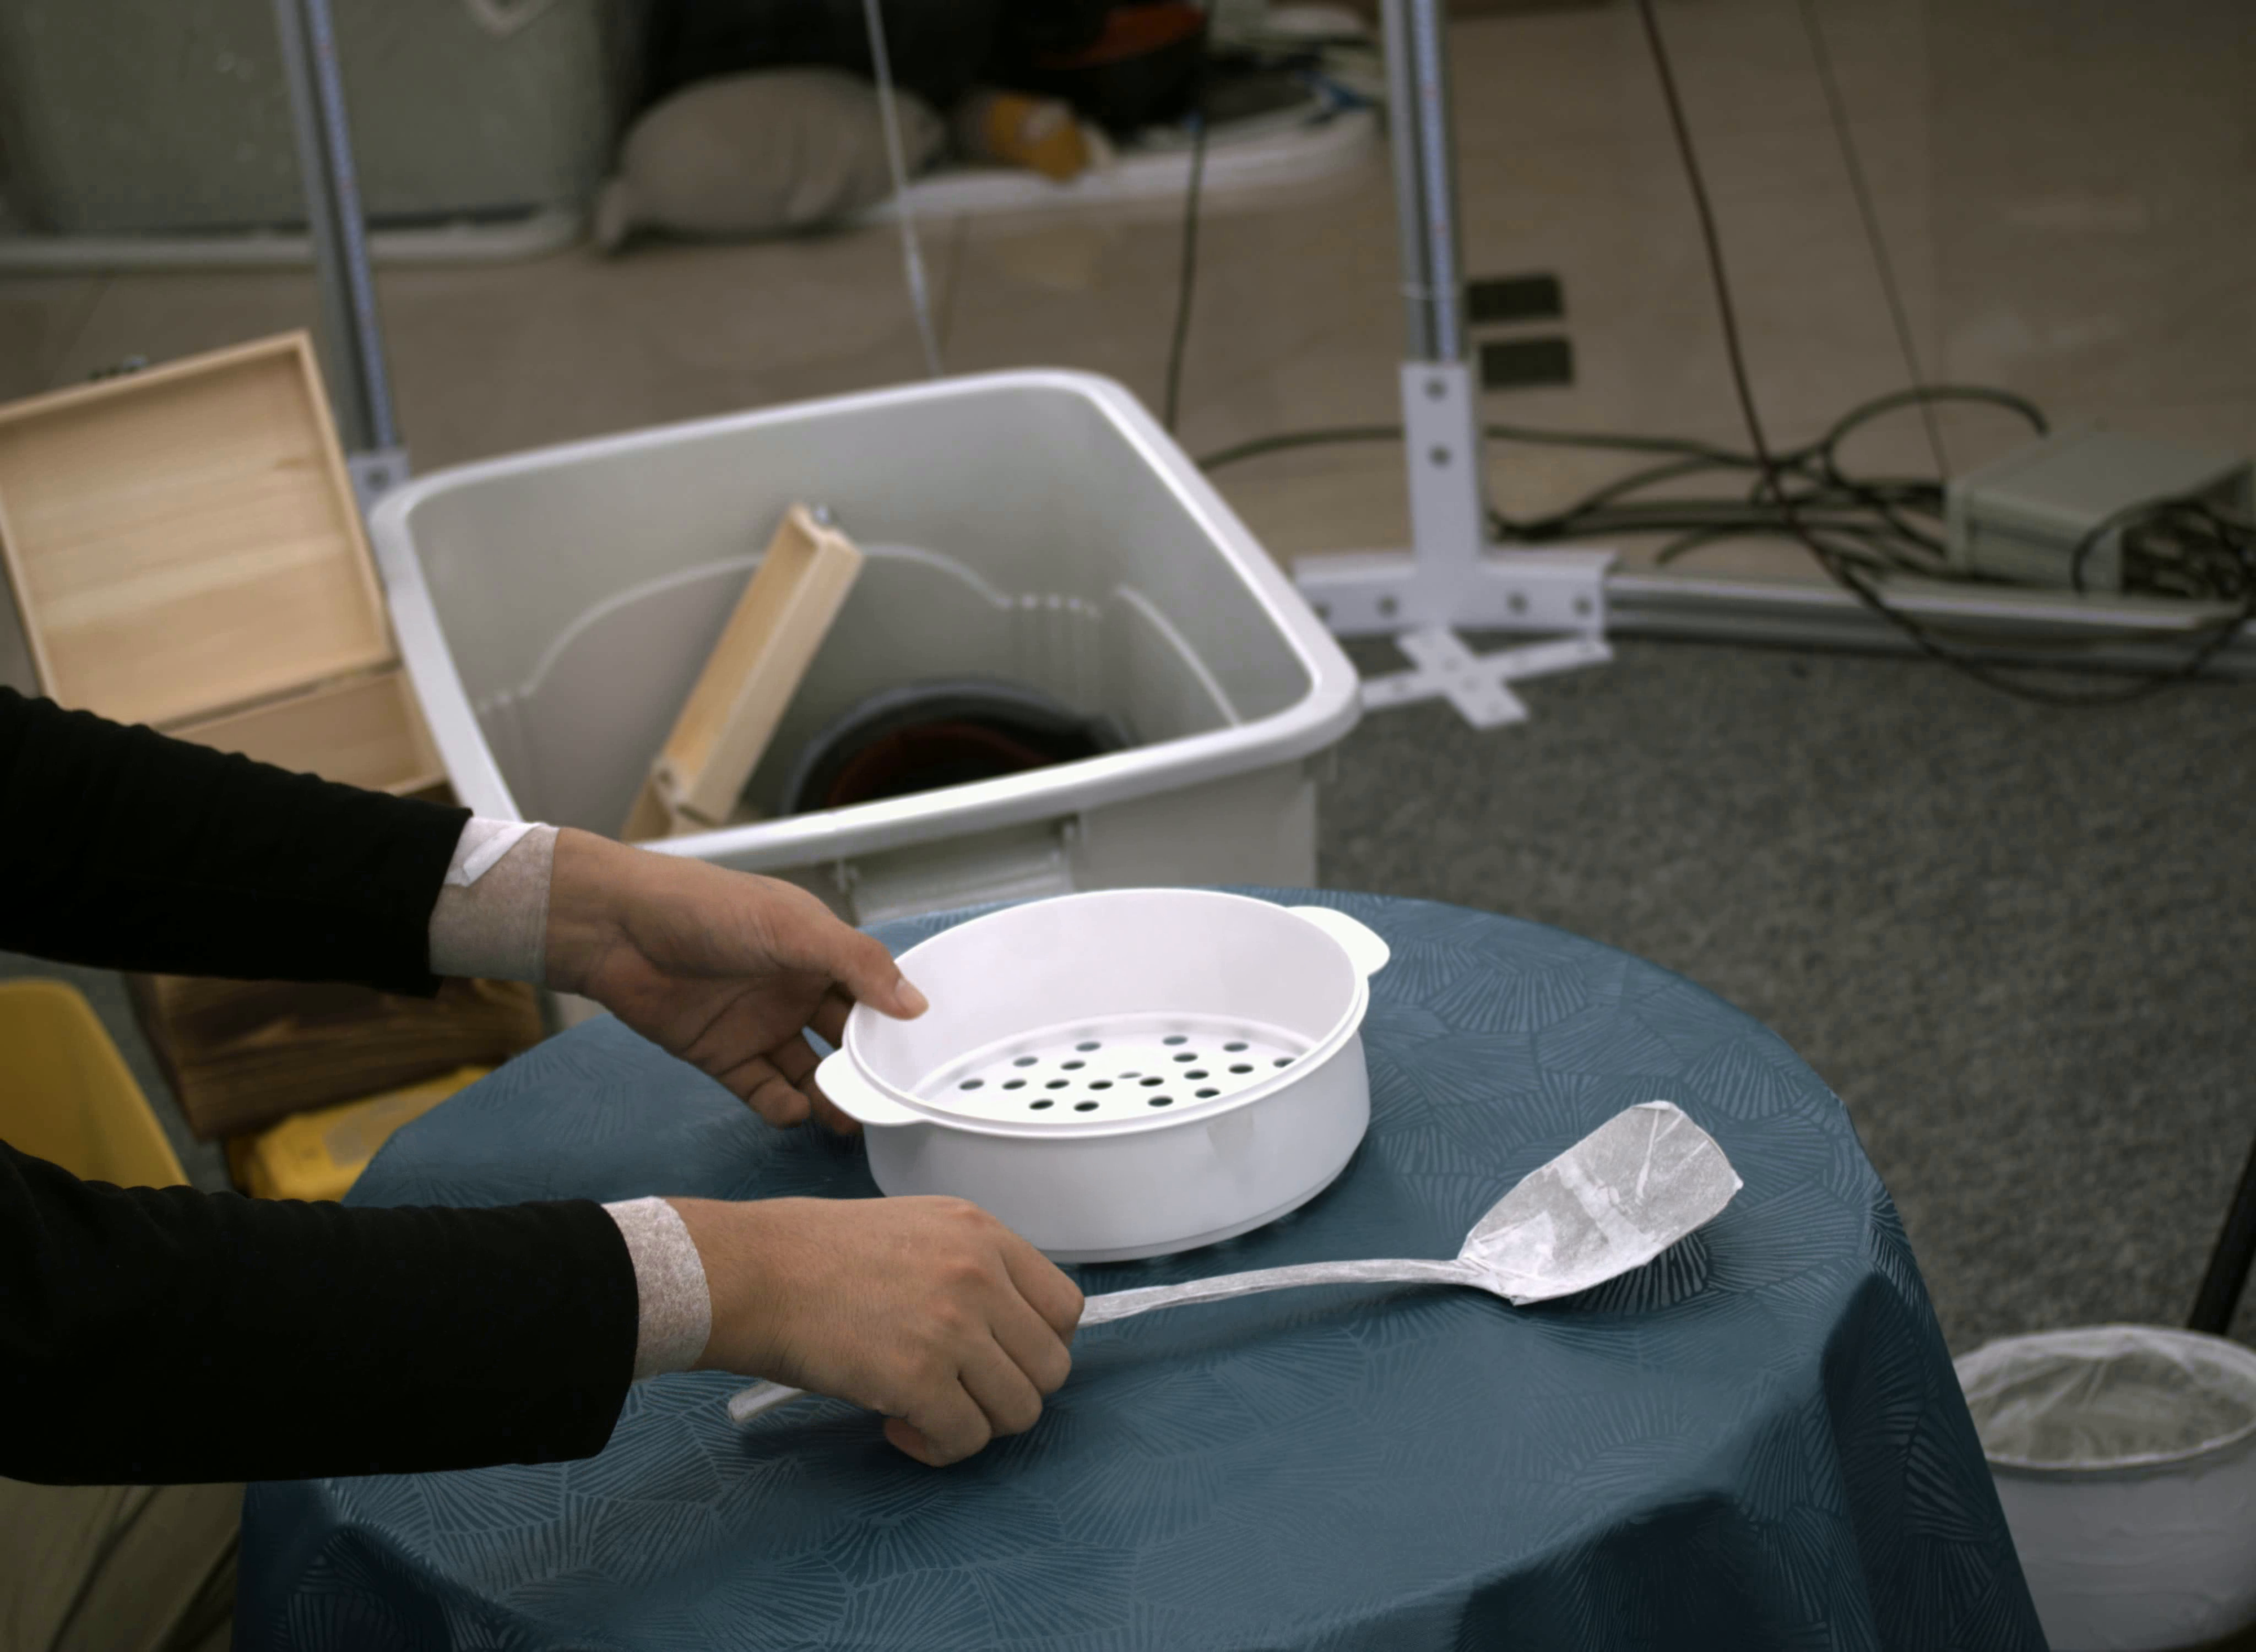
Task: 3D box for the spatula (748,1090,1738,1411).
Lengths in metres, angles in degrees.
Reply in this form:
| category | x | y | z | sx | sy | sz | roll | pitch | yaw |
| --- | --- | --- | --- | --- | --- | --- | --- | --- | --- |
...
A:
| category | x | y | z | sx | sy | sz | roll | pitch | yaw |
| --- | --- | --- | --- | --- | --- | --- | --- | --- | --- |
| spatula | 0.041 | 0.161 | 2.041 | 0.364 | 0.045 | 0.097 | -10 | 27 | -9 |

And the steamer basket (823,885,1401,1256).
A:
| category | x | y | z | sx | sy | sz | roll | pitch | yaw |
| --- | --- | --- | --- | --- | --- | --- | --- | --- | --- |
| steamer basket | -0.001 | 0.094 | 2.162 | 0.229 | 0.070 | 0.199 | -18 | 26 | -21 |
